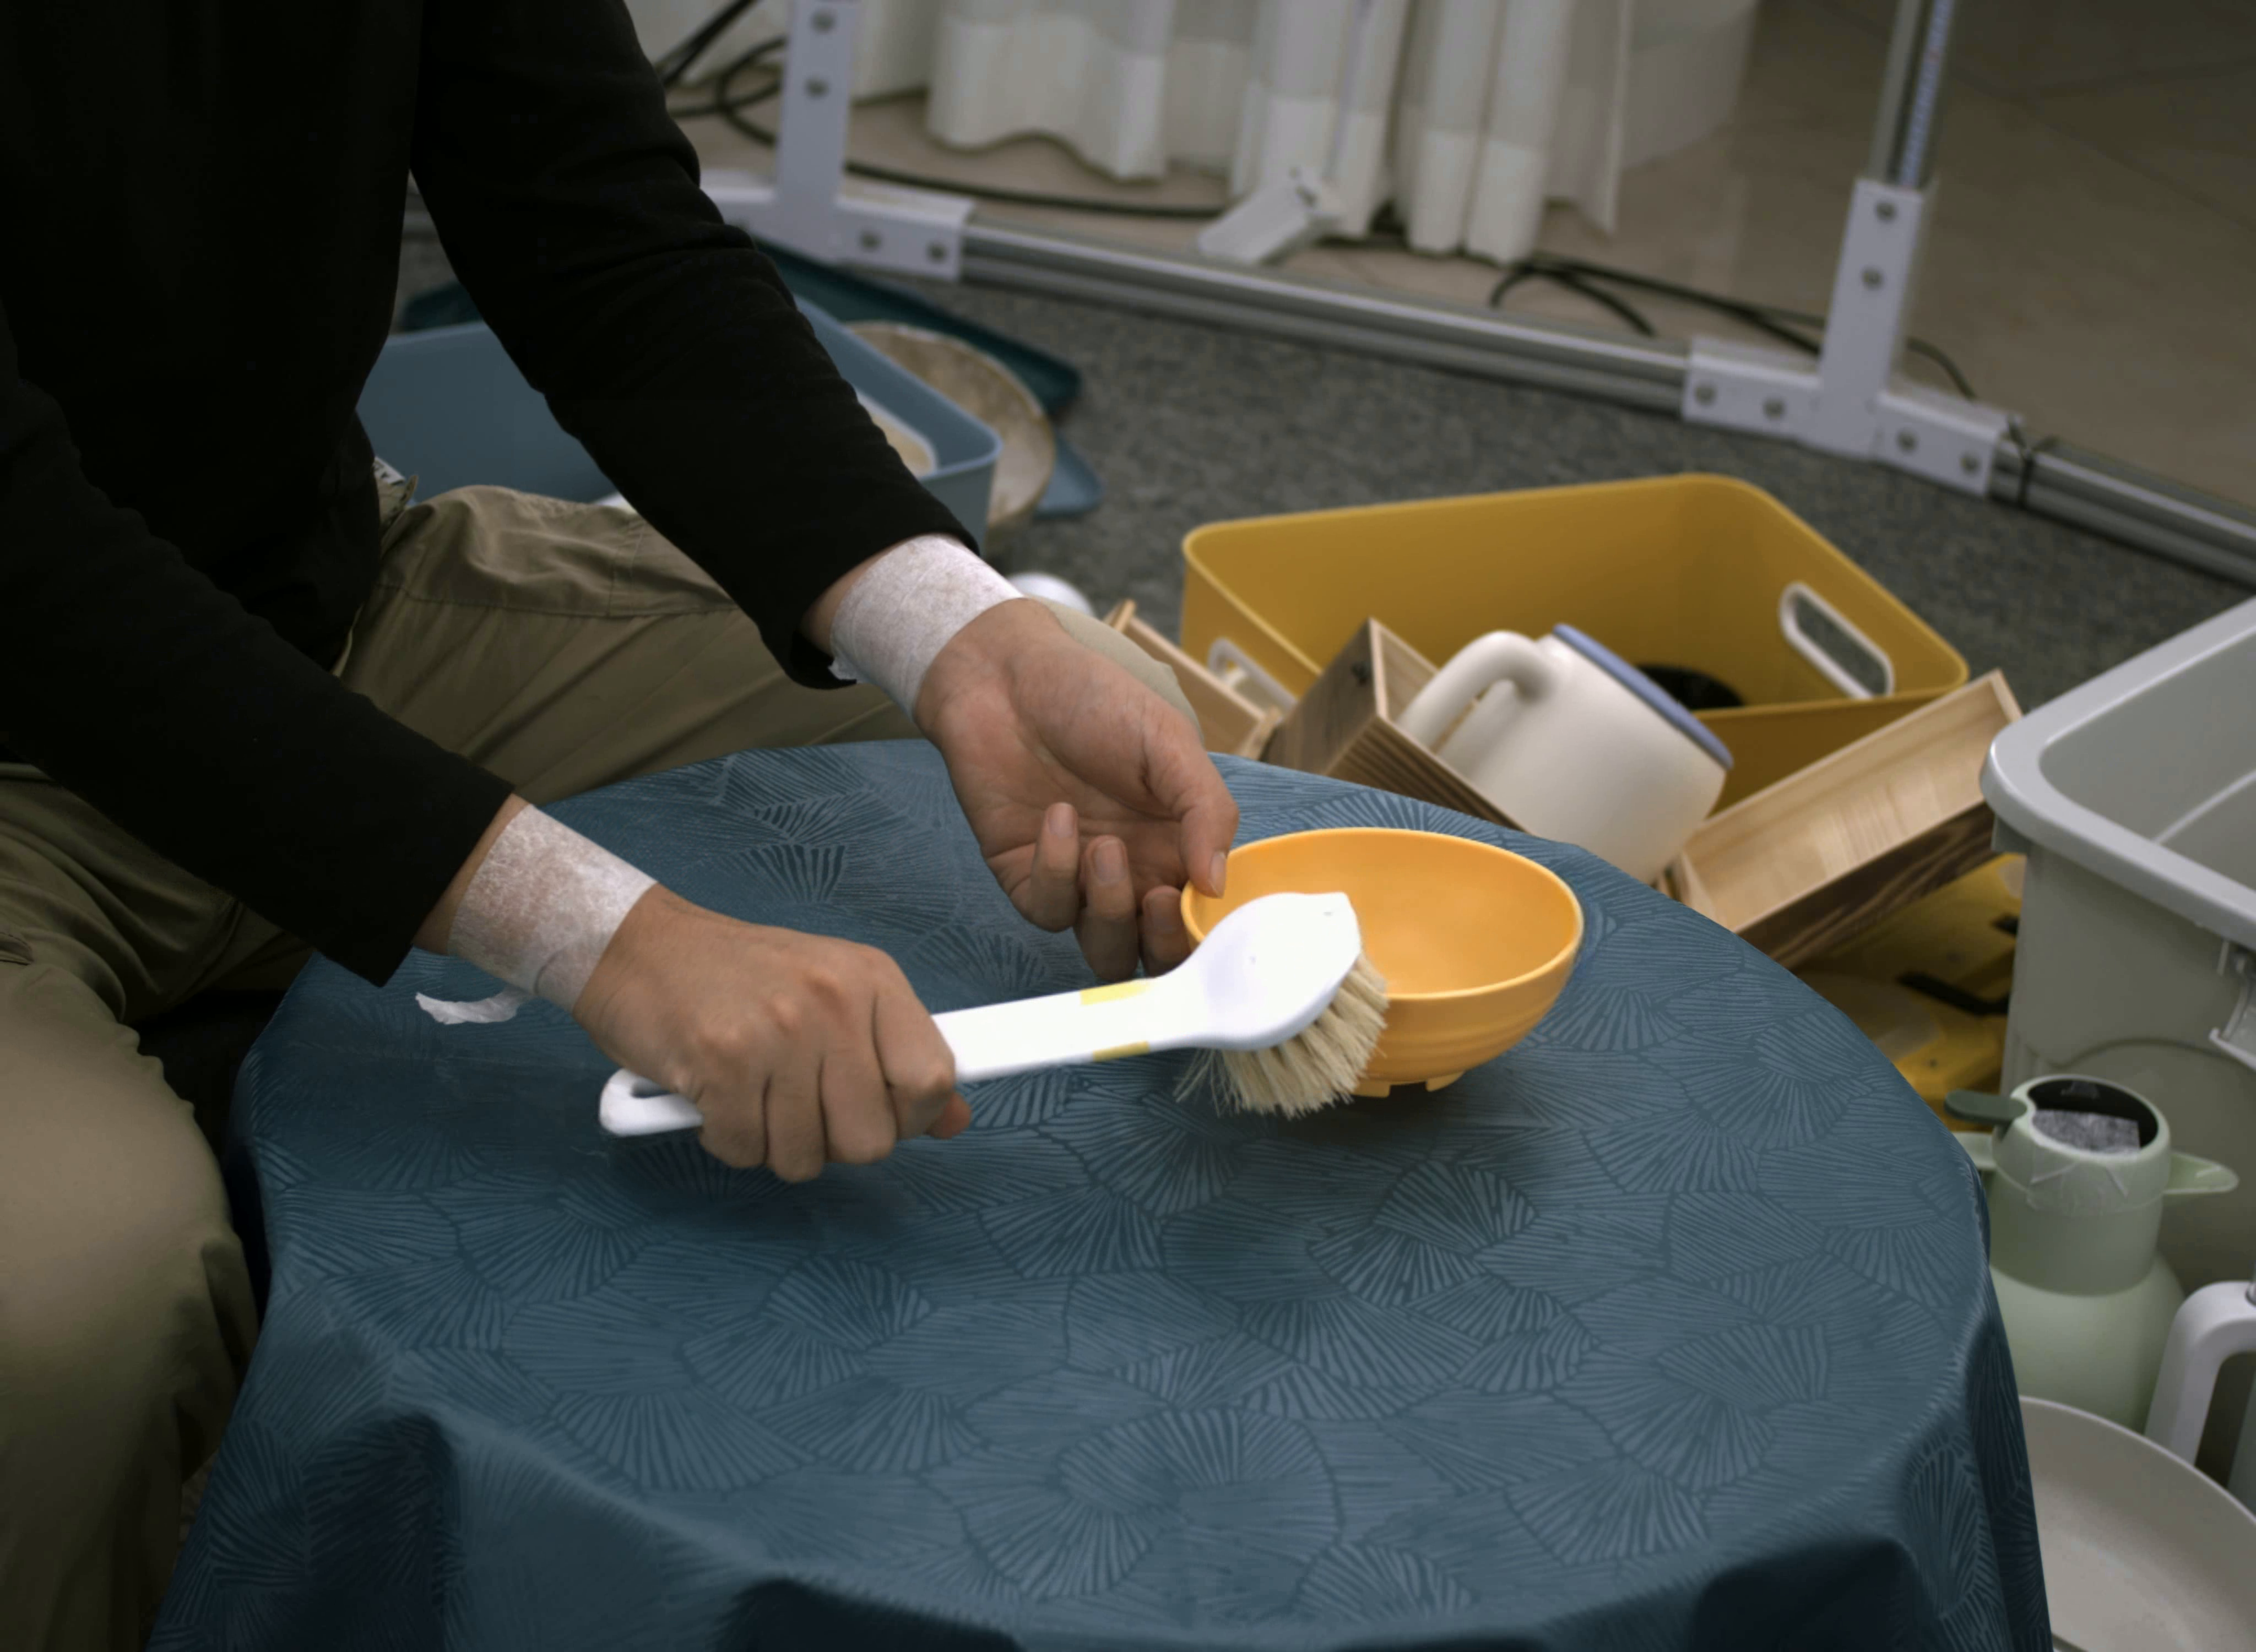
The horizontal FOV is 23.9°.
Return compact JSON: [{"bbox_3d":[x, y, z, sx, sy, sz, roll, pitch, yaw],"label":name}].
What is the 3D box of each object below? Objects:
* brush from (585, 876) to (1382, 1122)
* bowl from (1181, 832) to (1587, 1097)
[{"bbox_3d":[-0.047,0.075,1.775,0.266,0.056,0.069,-14,39,-2],"label":"brush"},{"bbox_3d":[0.089,0.055,1.882,0.145,0.060,0.146,2,23,-1],"label":"bowl"}]
